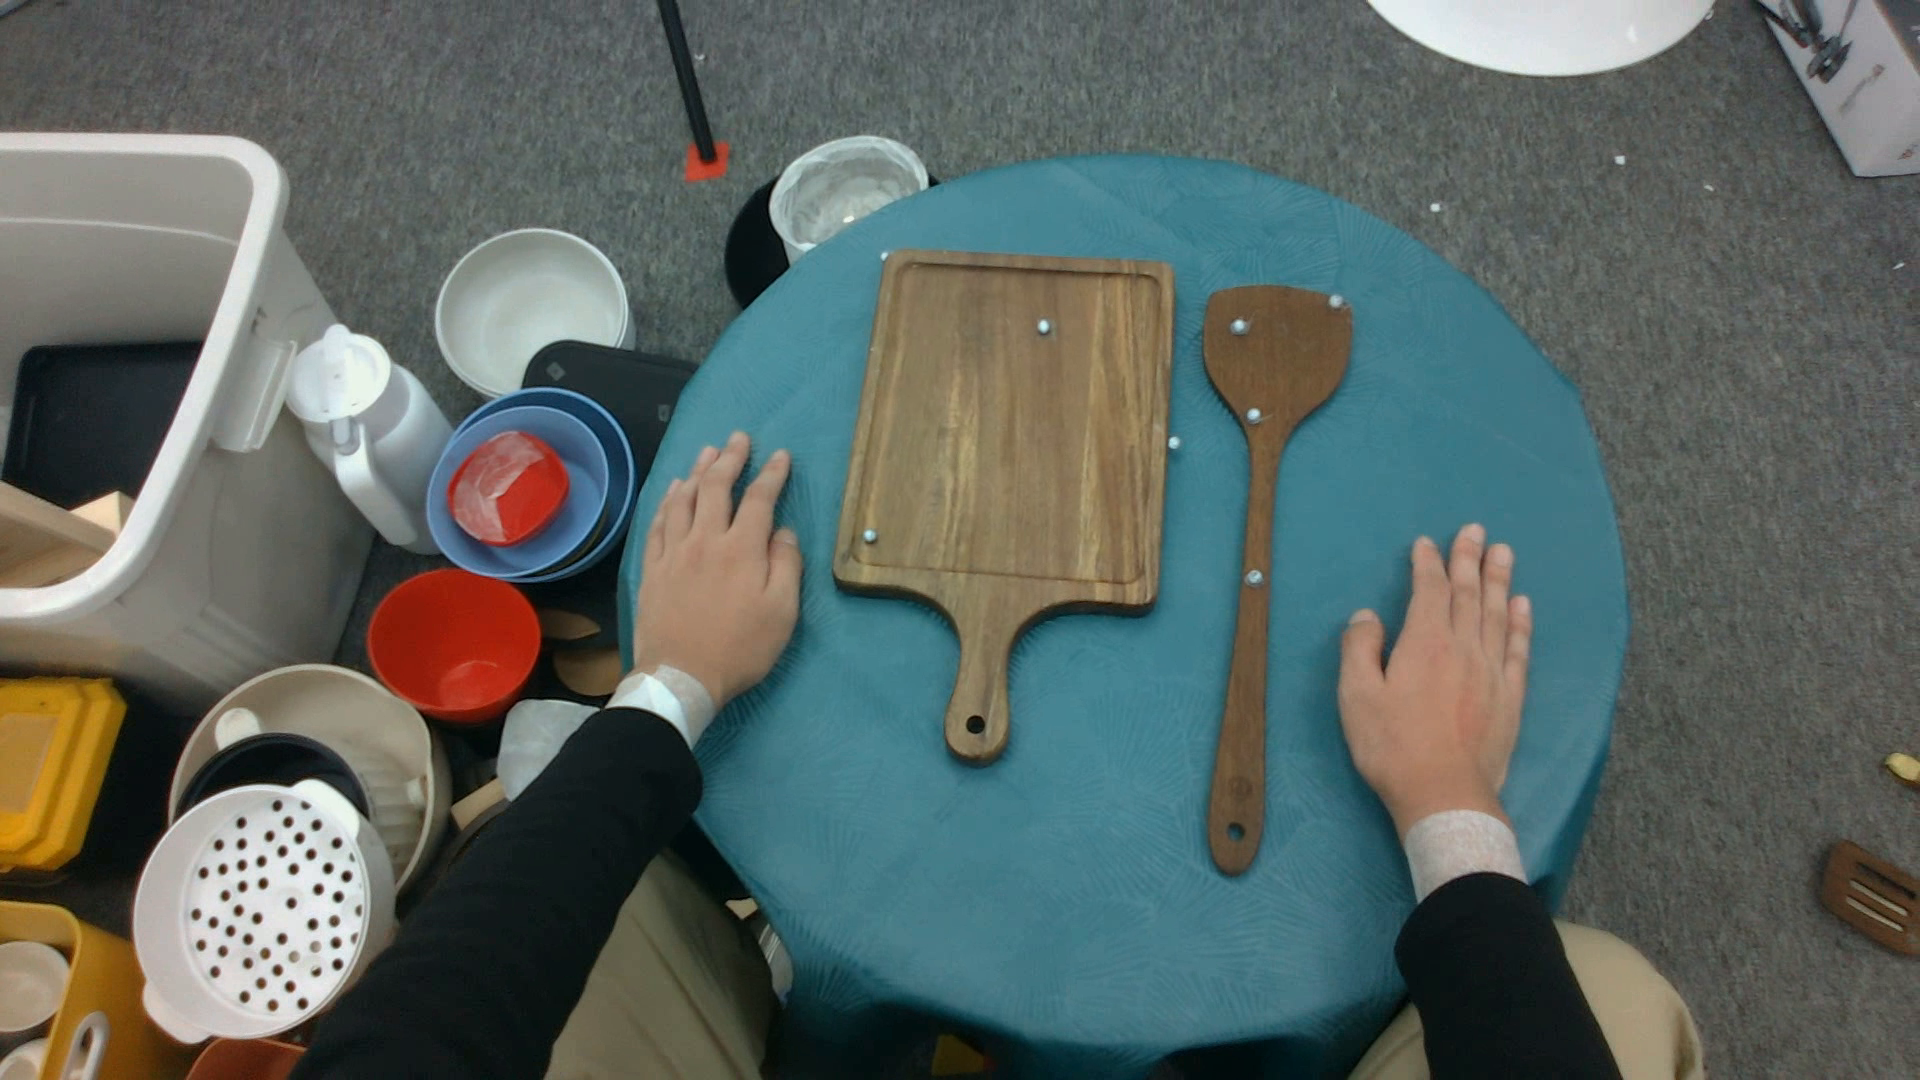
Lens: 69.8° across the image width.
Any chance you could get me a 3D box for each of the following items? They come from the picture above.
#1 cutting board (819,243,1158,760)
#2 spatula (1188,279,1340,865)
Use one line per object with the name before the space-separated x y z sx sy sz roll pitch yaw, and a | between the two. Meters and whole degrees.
cutting board | 0.019 -0.037 0.847 0.201 0.023 0.353 3 64 5
spatula | 0.173 0.002 0.823 0.096 0.016 0.387 6 64 7
